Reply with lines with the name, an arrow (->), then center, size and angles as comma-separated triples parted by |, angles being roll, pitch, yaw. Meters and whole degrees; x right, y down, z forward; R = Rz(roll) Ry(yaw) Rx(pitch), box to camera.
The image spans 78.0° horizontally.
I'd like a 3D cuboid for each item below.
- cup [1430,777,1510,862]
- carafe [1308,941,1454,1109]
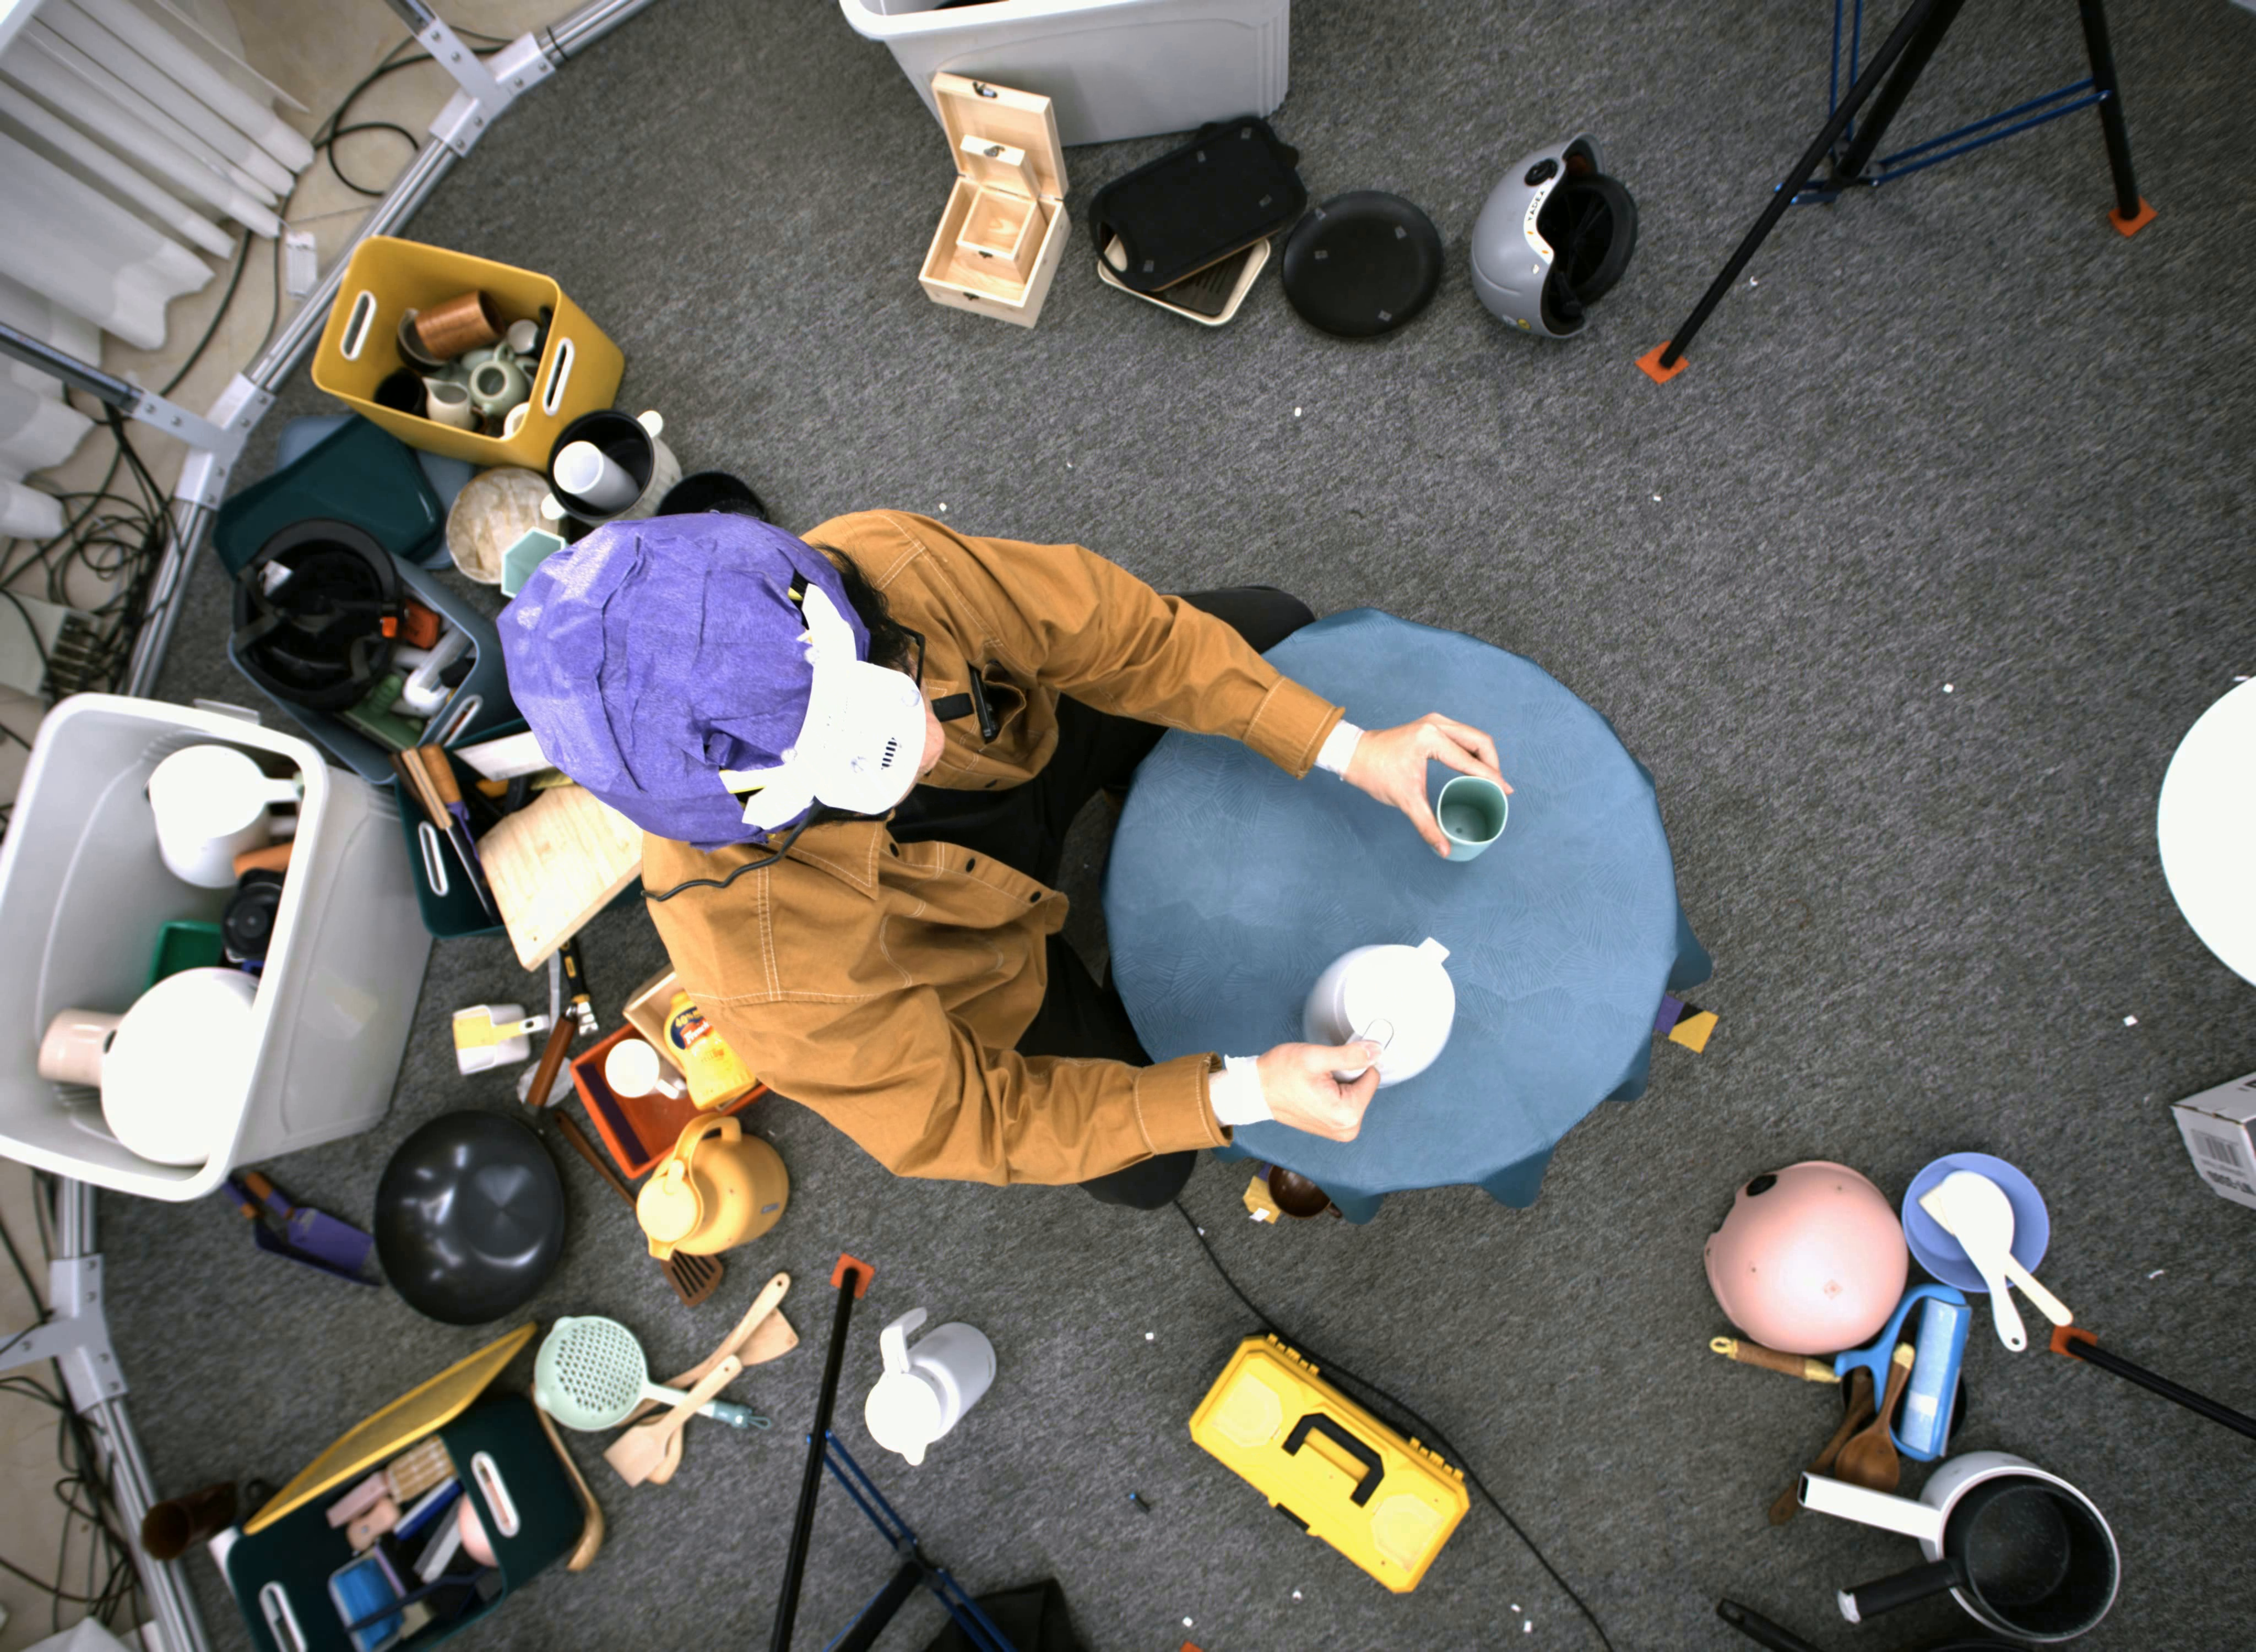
cup -> 0.327, -0.006, 1.328 | 0.067, 0.133, 0.066 | -1, 82, 8
carafe -> 0.227, 0.187, 1.273 | 0.132, 0.250, 0.167 | 36, 85, 10
